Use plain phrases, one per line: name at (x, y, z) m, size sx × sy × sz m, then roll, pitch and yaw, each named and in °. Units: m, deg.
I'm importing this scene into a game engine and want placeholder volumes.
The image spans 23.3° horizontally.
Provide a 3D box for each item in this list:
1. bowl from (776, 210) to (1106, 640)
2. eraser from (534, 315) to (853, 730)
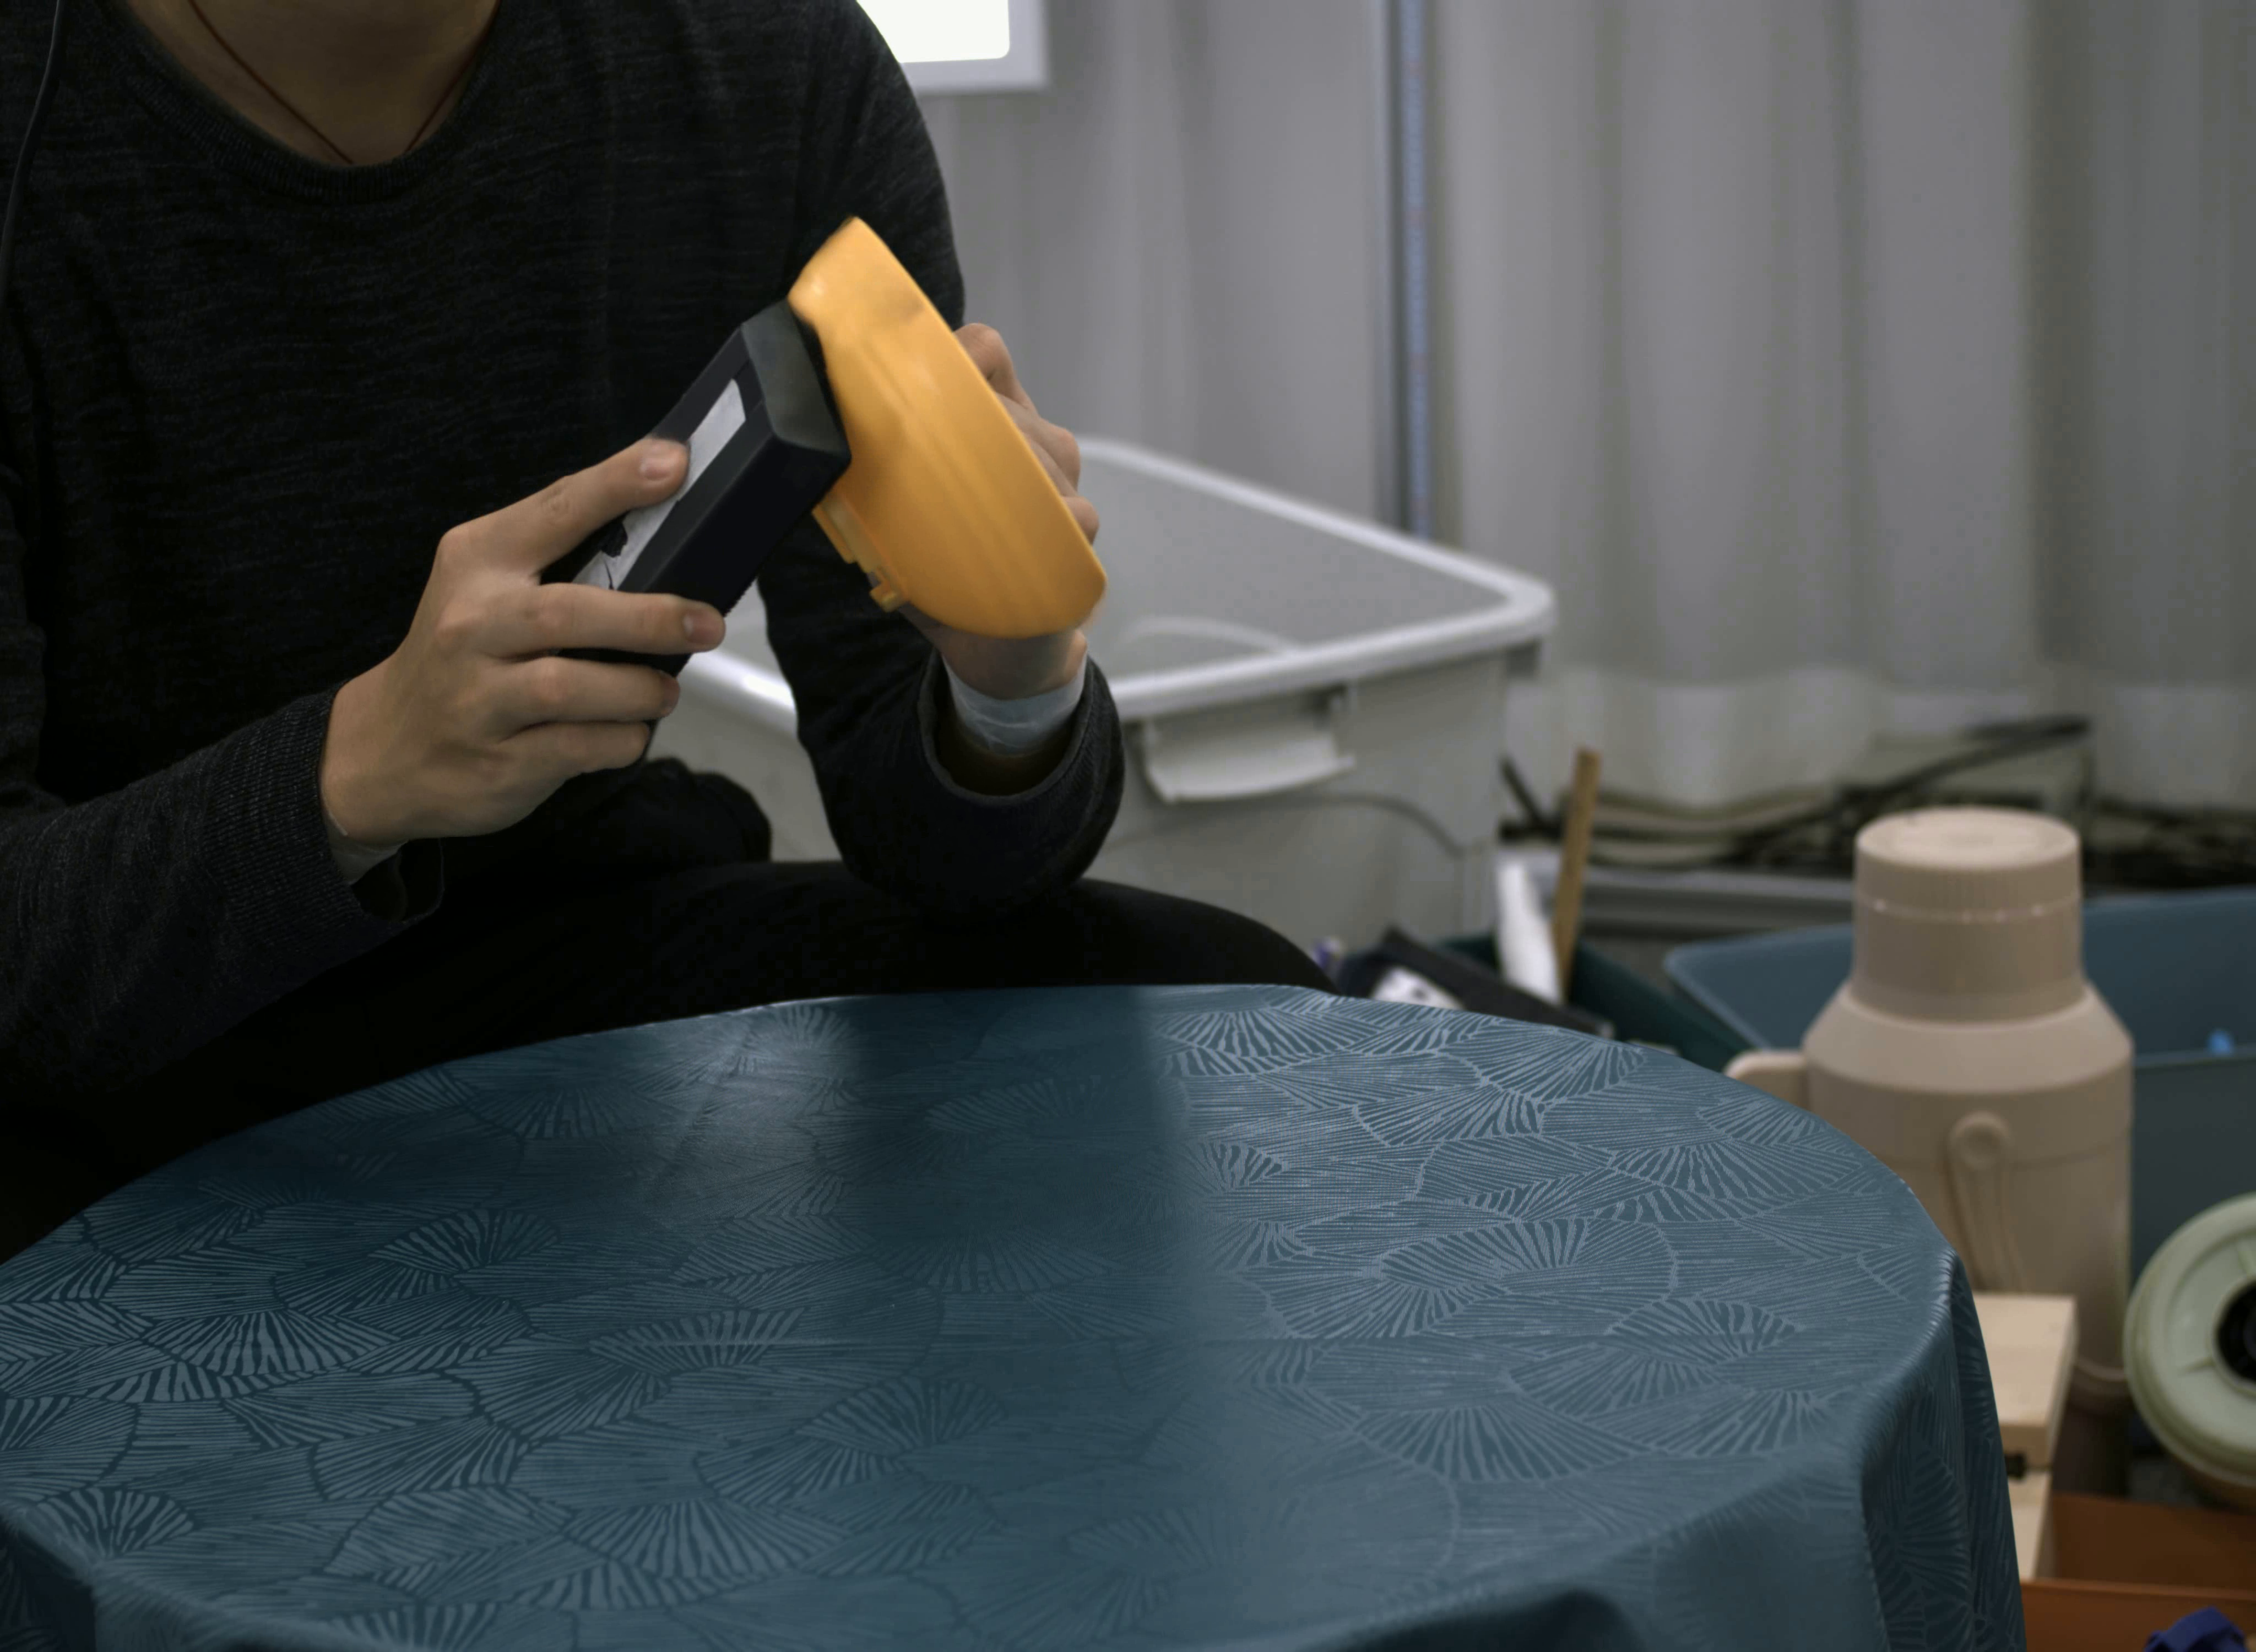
bowl at (-0.069, -0.109, 1.646) m, size 0.060 × 0.144 × 0.146 m, roll -32°, pitch 17°, yaw -2°
eraser at (-0.128, -0.089, 1.606) m, size 0.030 × 0.125 × 0.054 m, roll 19°, pitch 36°, yaw -34°
